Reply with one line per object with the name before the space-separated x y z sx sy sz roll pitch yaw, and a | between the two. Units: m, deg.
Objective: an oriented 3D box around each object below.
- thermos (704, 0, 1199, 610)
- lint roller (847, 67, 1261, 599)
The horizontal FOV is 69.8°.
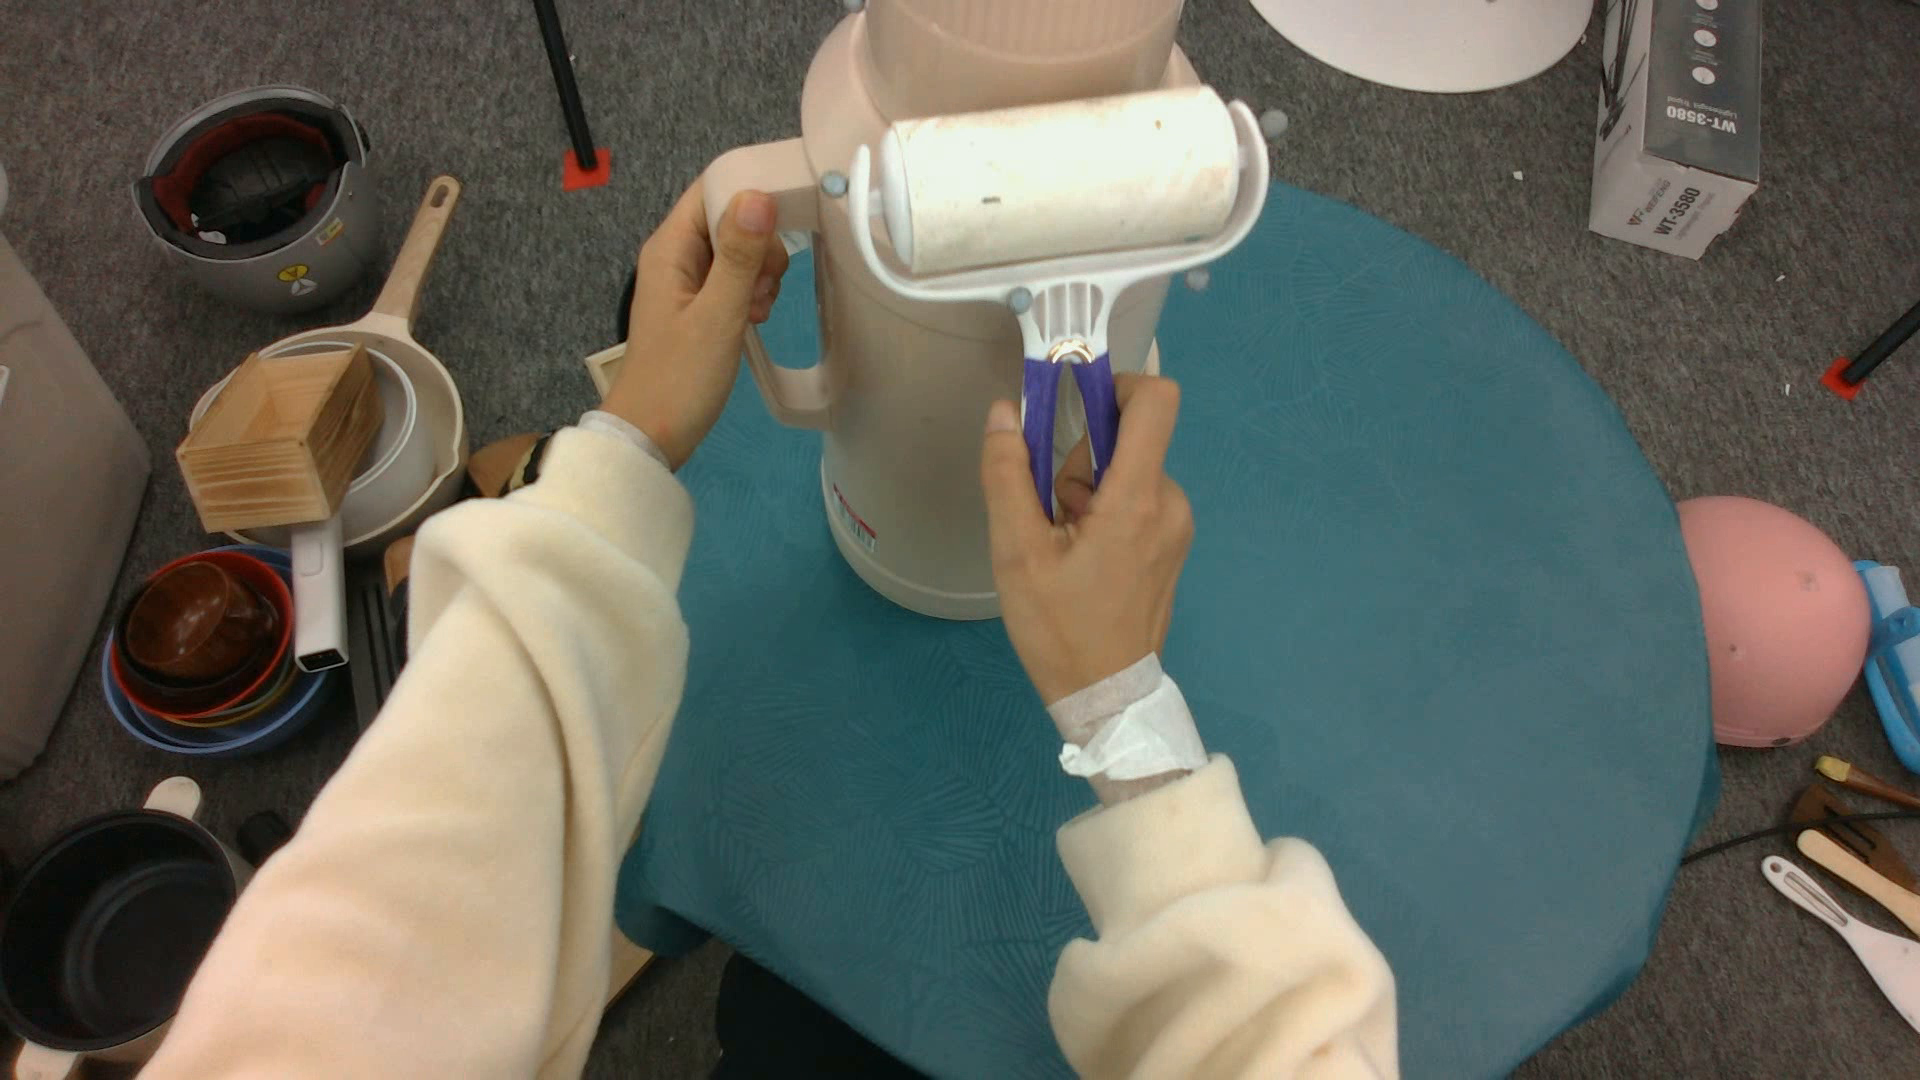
thermos | -0.001 -0.119 0.608 0.207 0.404 0.176 -13 65 -10
lint roller | 0.035 -0.059 0.460 0.133 0.050 0.180 -8 106 -8
